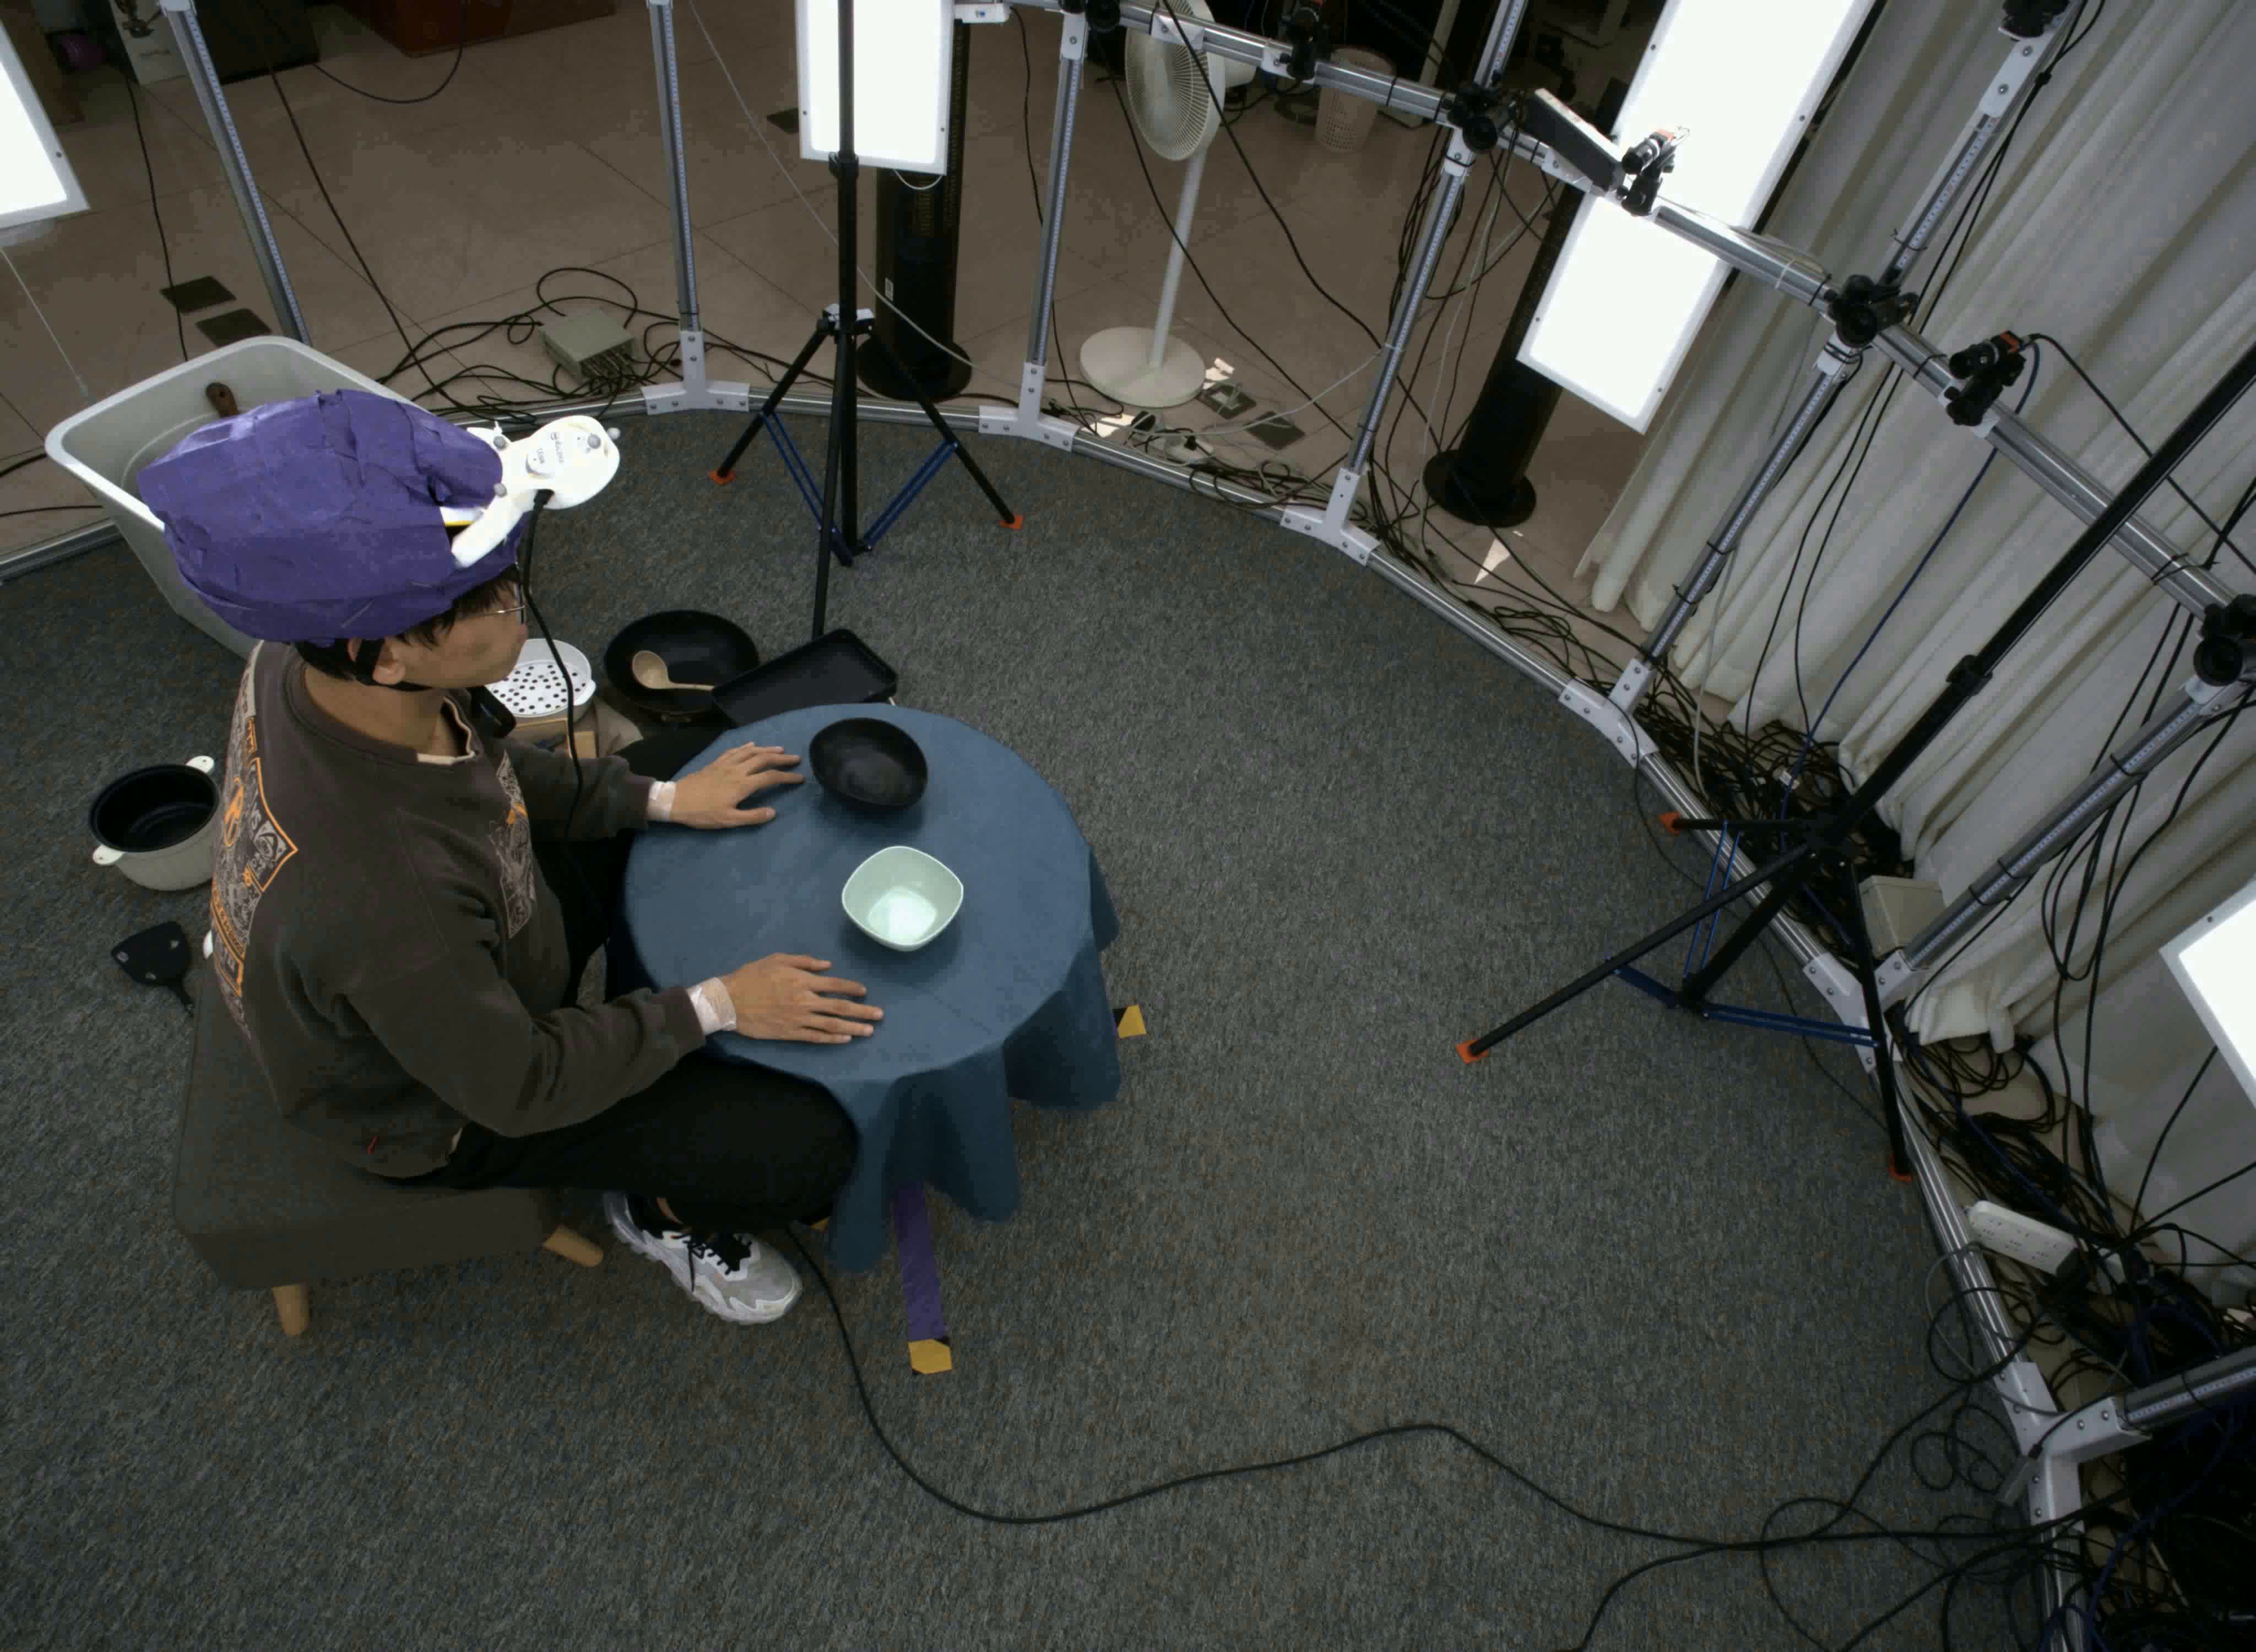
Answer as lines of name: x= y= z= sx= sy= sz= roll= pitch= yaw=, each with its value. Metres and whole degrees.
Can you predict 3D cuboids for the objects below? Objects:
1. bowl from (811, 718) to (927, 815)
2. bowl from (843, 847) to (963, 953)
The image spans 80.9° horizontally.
bowl: x=-0.351 y=-0.071 z=1.768 sx=0.168 sy=0.068 sz=0.137 roll=30 pitch=53 yaw=8
bowl: x=-0.287 y=0.103 z=1.659 sx=0.151 sy=0.060 sz=0.148 roll=9 pitch=51 yaw=-9
